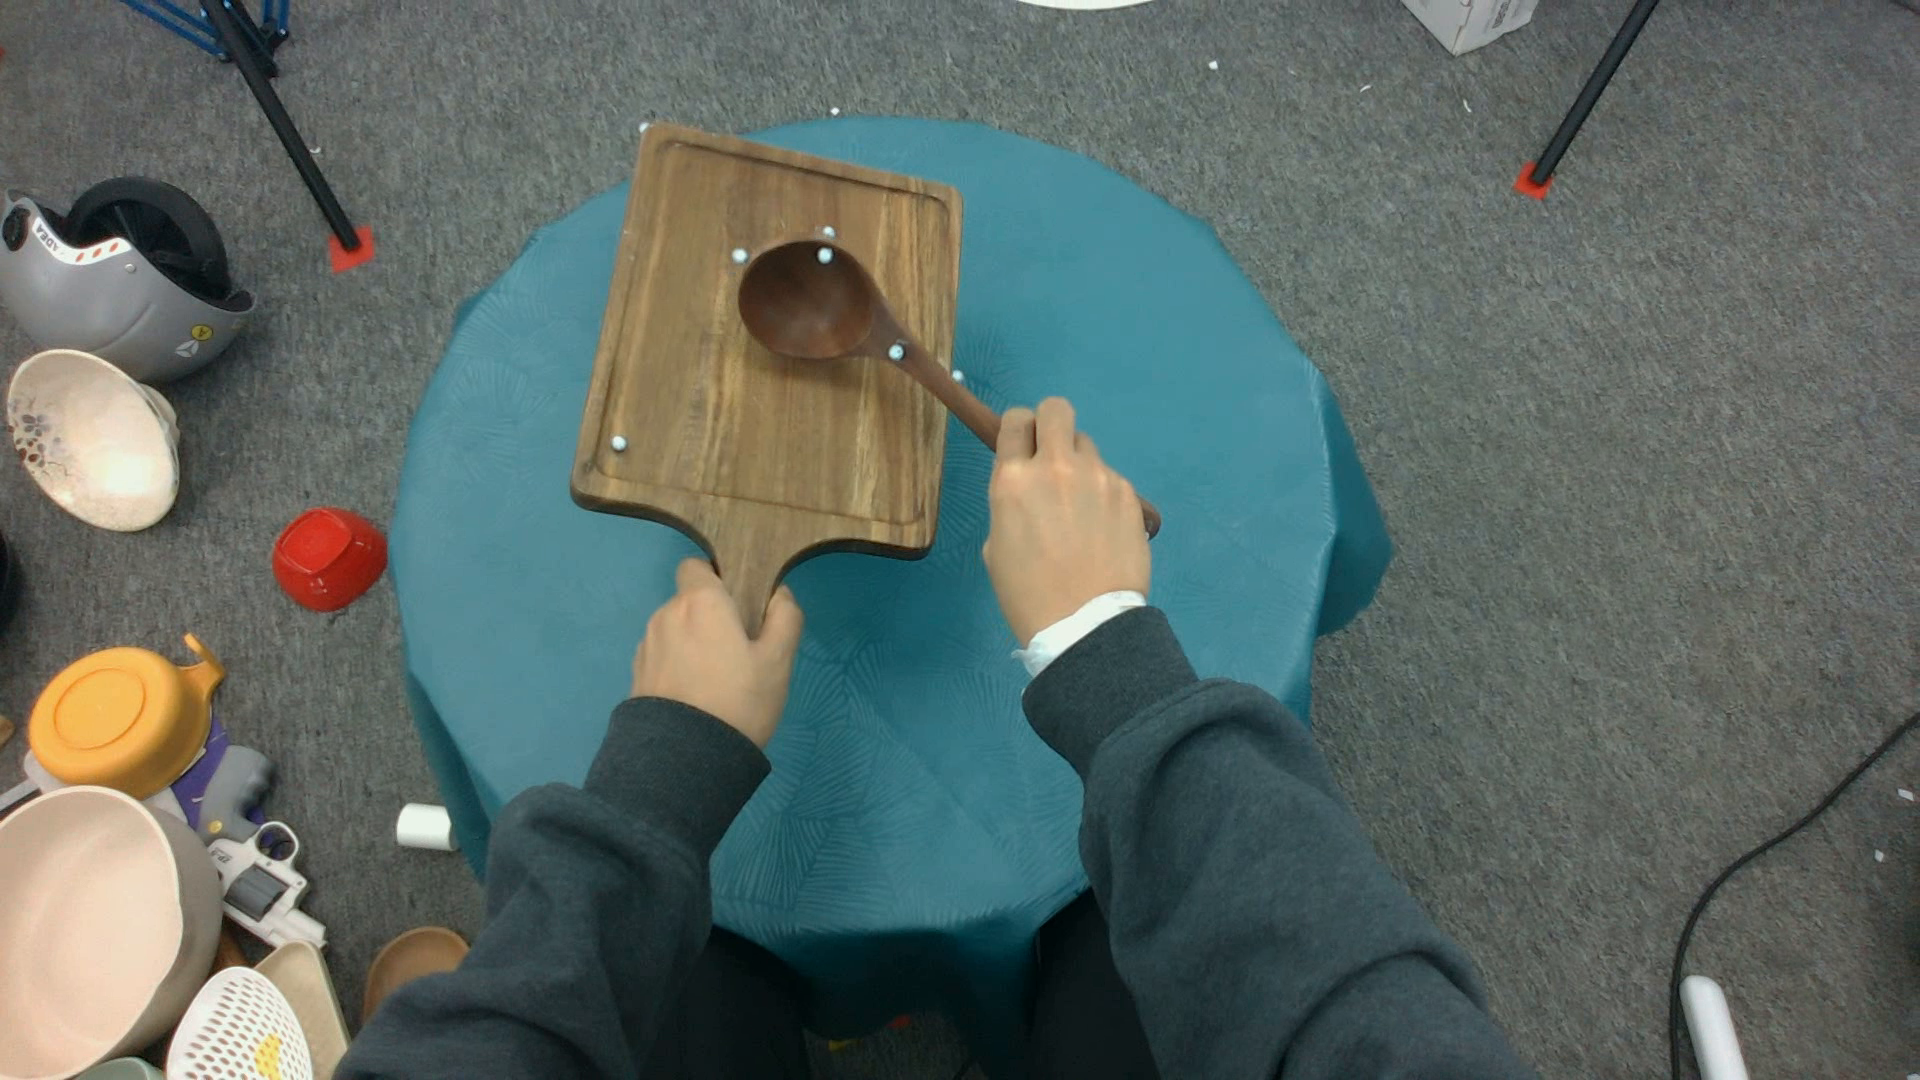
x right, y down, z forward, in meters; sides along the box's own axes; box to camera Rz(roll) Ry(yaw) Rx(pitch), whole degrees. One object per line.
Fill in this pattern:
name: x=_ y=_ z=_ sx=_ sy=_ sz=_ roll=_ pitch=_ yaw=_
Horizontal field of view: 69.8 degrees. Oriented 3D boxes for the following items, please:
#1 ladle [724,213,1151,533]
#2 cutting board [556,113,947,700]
ladle: x=-0.015 y=-0.080 z=0.717 sx=0.260 sy=0.076 sz=0.065 roll=40 pitch=37 yaw=14
cutting board: x=-0.112 y=-0.082 z=0.764 sx=0.201 sy=0.023 sz=0.353 roll=9 pitch=64 yaw=-11
